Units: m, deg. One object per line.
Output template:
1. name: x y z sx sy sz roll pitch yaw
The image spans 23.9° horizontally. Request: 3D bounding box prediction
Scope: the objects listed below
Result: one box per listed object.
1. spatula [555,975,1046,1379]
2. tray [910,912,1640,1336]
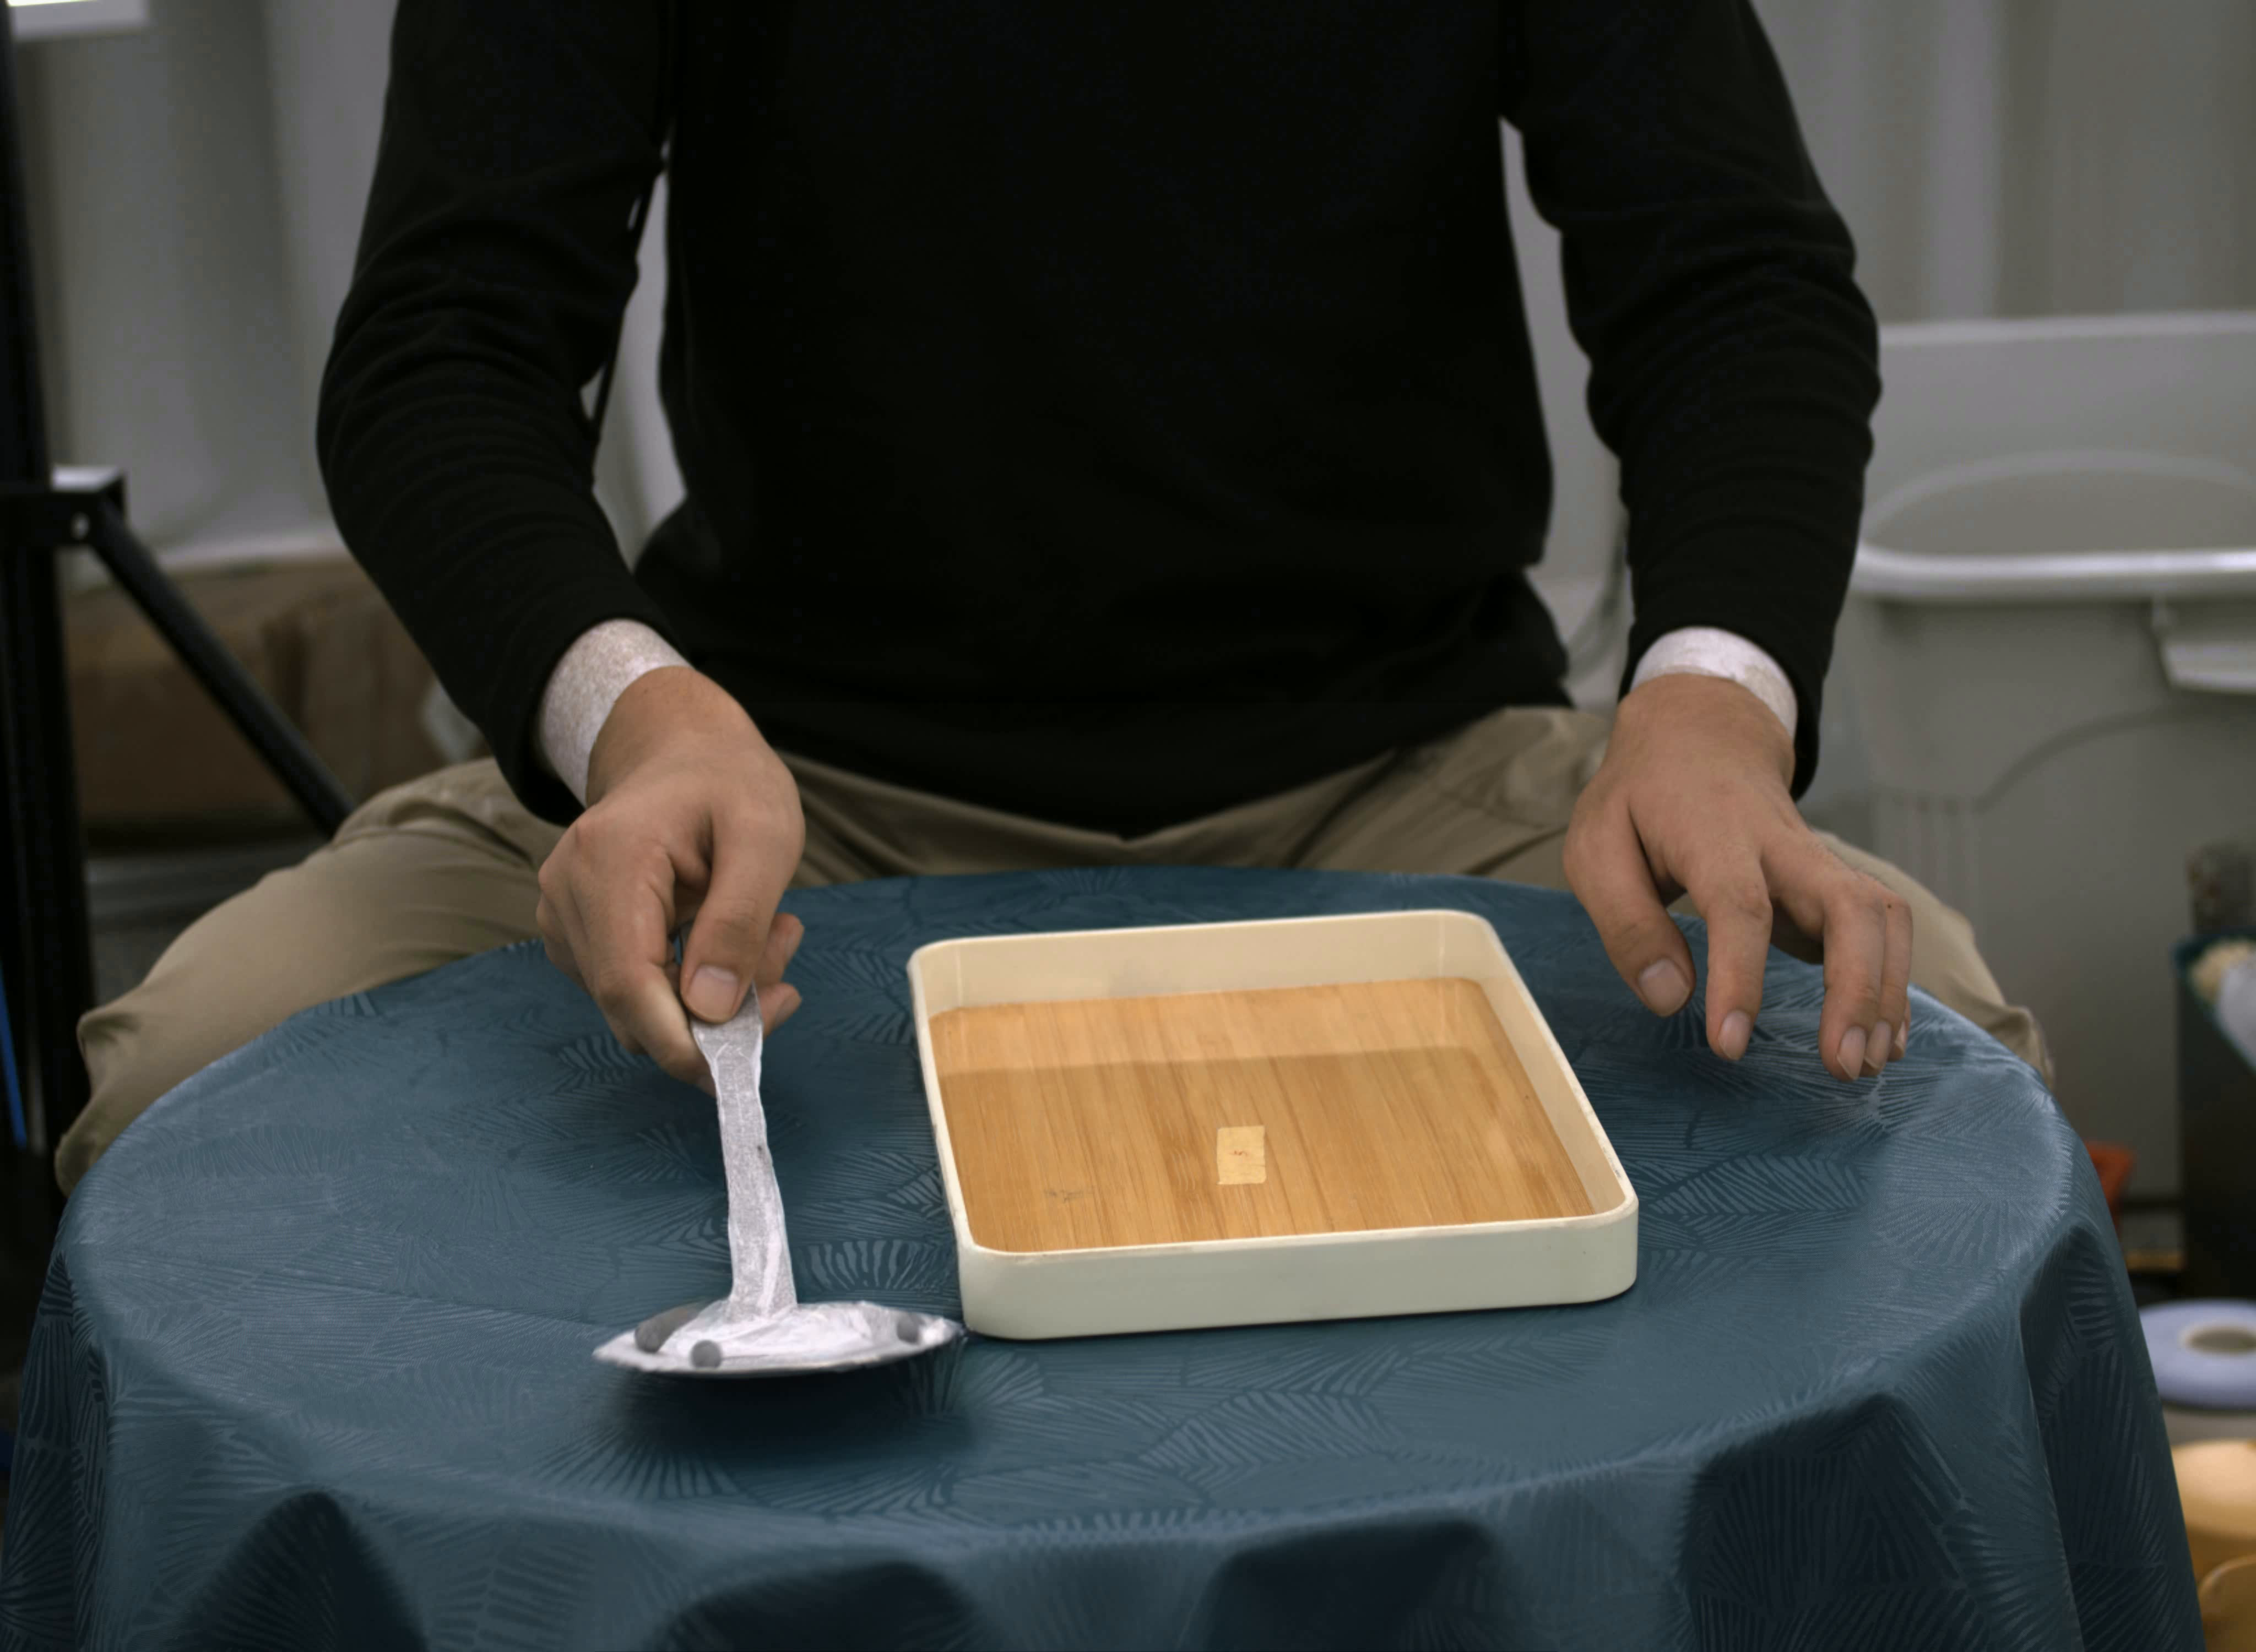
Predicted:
1. spatula: -0.118 0.090 1.520 0.096 0.045 0.371 12 15 -22
2. tray: 0.036 0.085 1.585 0.190 0.027 0.302 -4 16 -3
